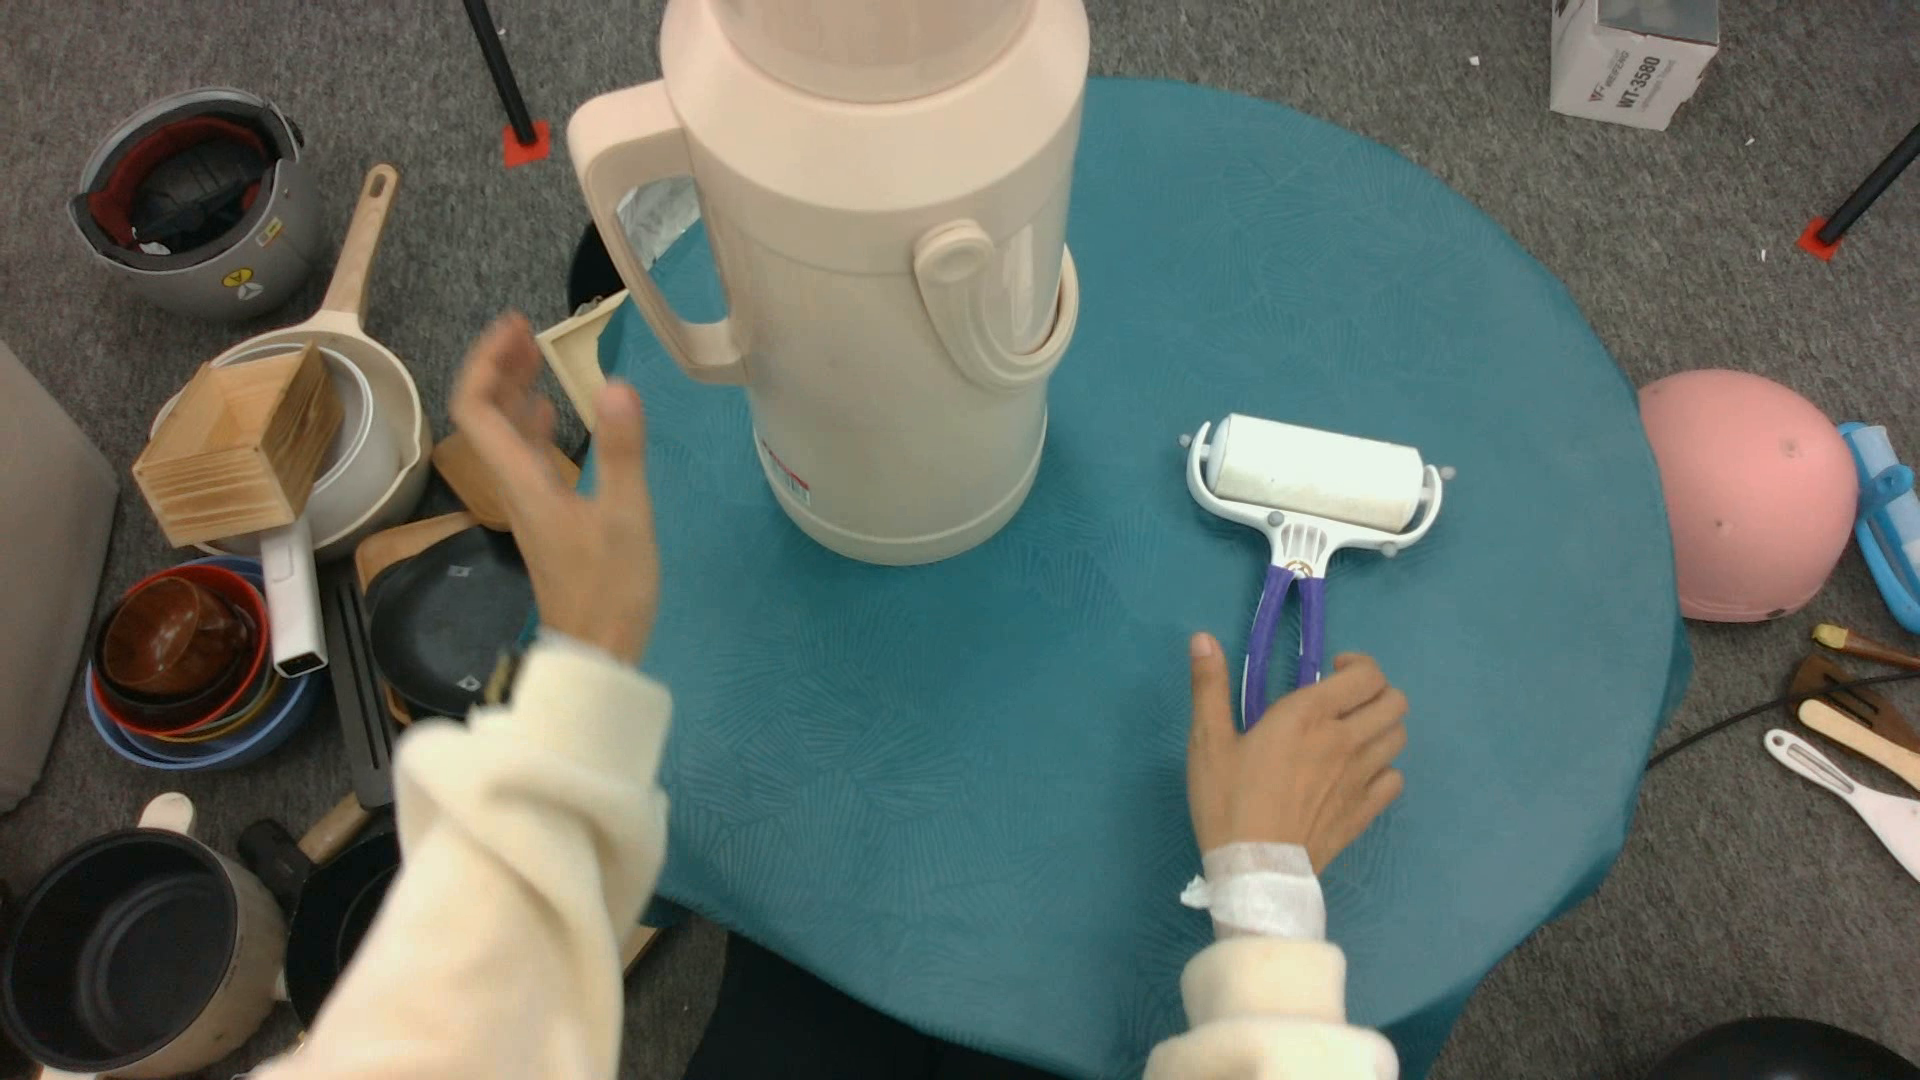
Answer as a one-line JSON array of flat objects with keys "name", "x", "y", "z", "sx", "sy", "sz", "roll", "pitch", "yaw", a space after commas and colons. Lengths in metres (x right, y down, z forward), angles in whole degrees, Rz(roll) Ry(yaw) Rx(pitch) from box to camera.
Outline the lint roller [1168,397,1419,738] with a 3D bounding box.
[{"name": "lint roller", "x": 0.164, "y": 0.012, "z": 0.715, "sx": 0.133, "sy": 0.050, "sz": 0.181, "roll": 14, "pitch": 63, "yaw": 4}]

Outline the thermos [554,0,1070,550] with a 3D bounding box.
[{"name": "thermos", "x": -0.052, "y": -0.145, "z": 0.592, "sx": 0.207, "sy": 0.405, "sz": 0.175, "roll": -19, "pitch": 67, "yaw": -10}]
